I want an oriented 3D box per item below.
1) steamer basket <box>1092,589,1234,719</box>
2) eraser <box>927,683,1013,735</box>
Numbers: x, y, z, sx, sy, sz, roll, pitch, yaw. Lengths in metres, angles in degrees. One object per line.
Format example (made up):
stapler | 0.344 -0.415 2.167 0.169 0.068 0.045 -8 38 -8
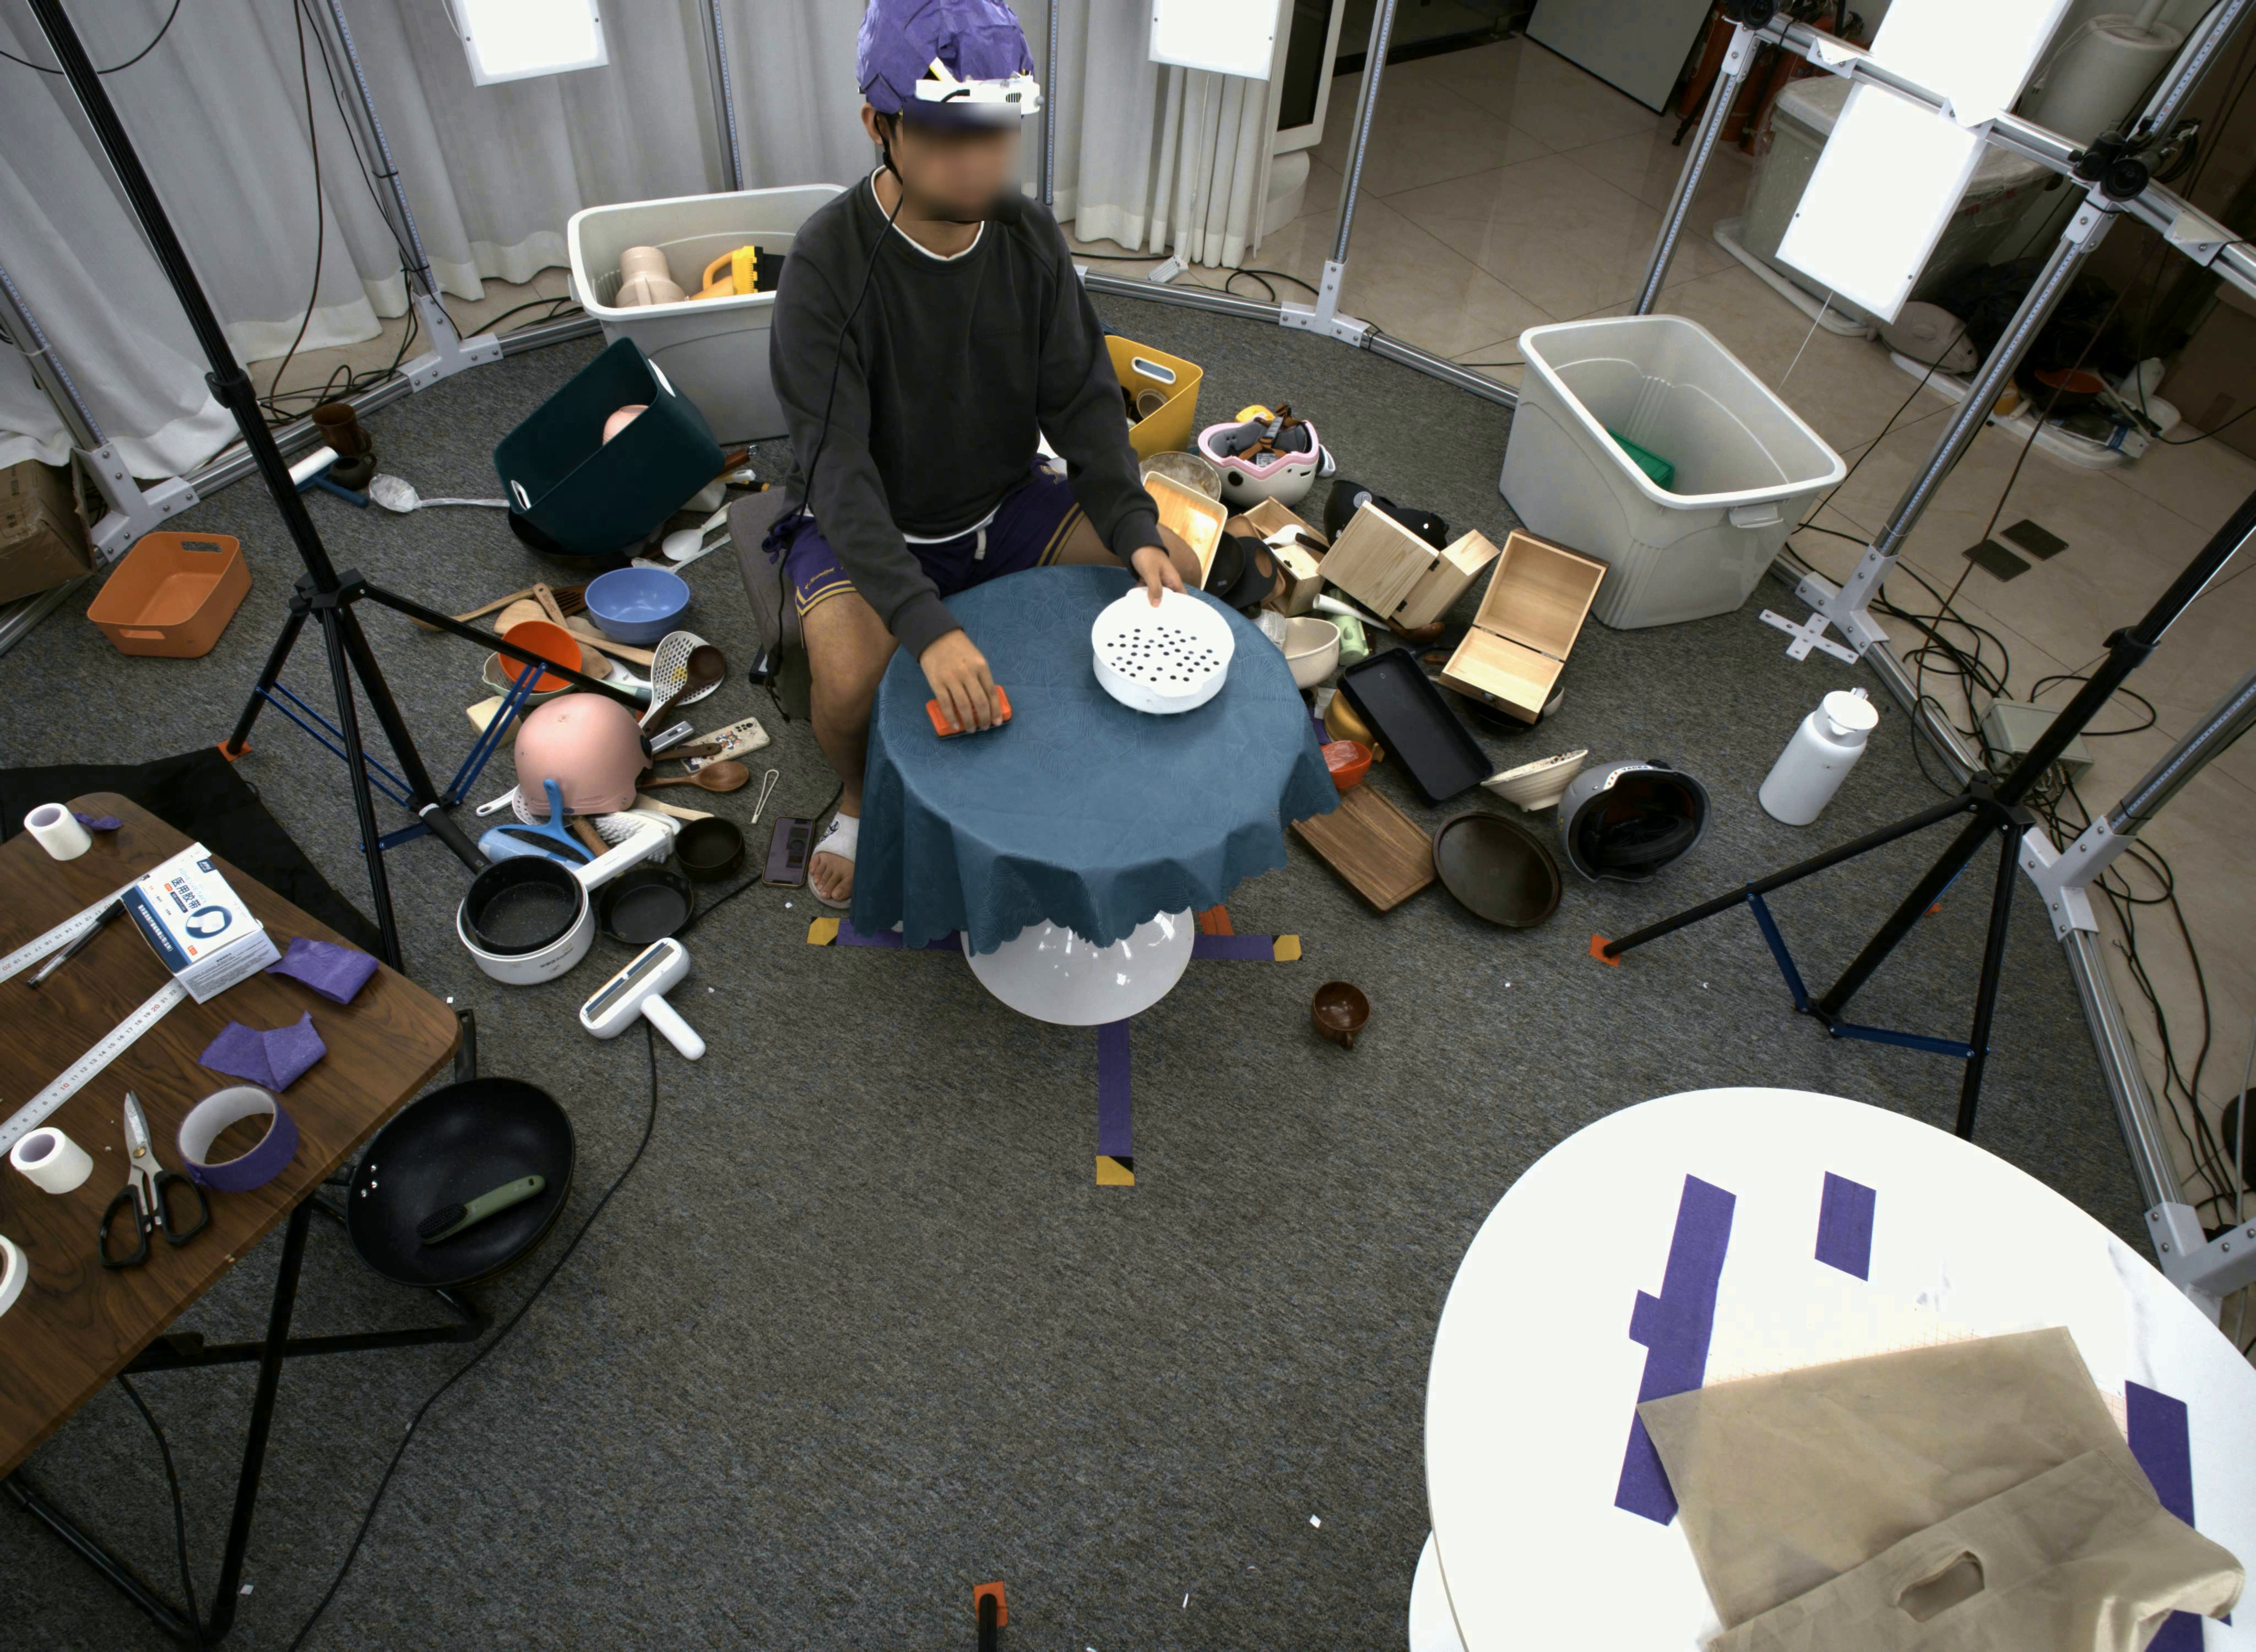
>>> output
steamer basket | 0.049 -0.242 1.839 0.201 0.067 0.236 -7 50 -9
eraser | -0.216 -0.161 1.763 0.108 0.022 0.060 -16 43 -15
